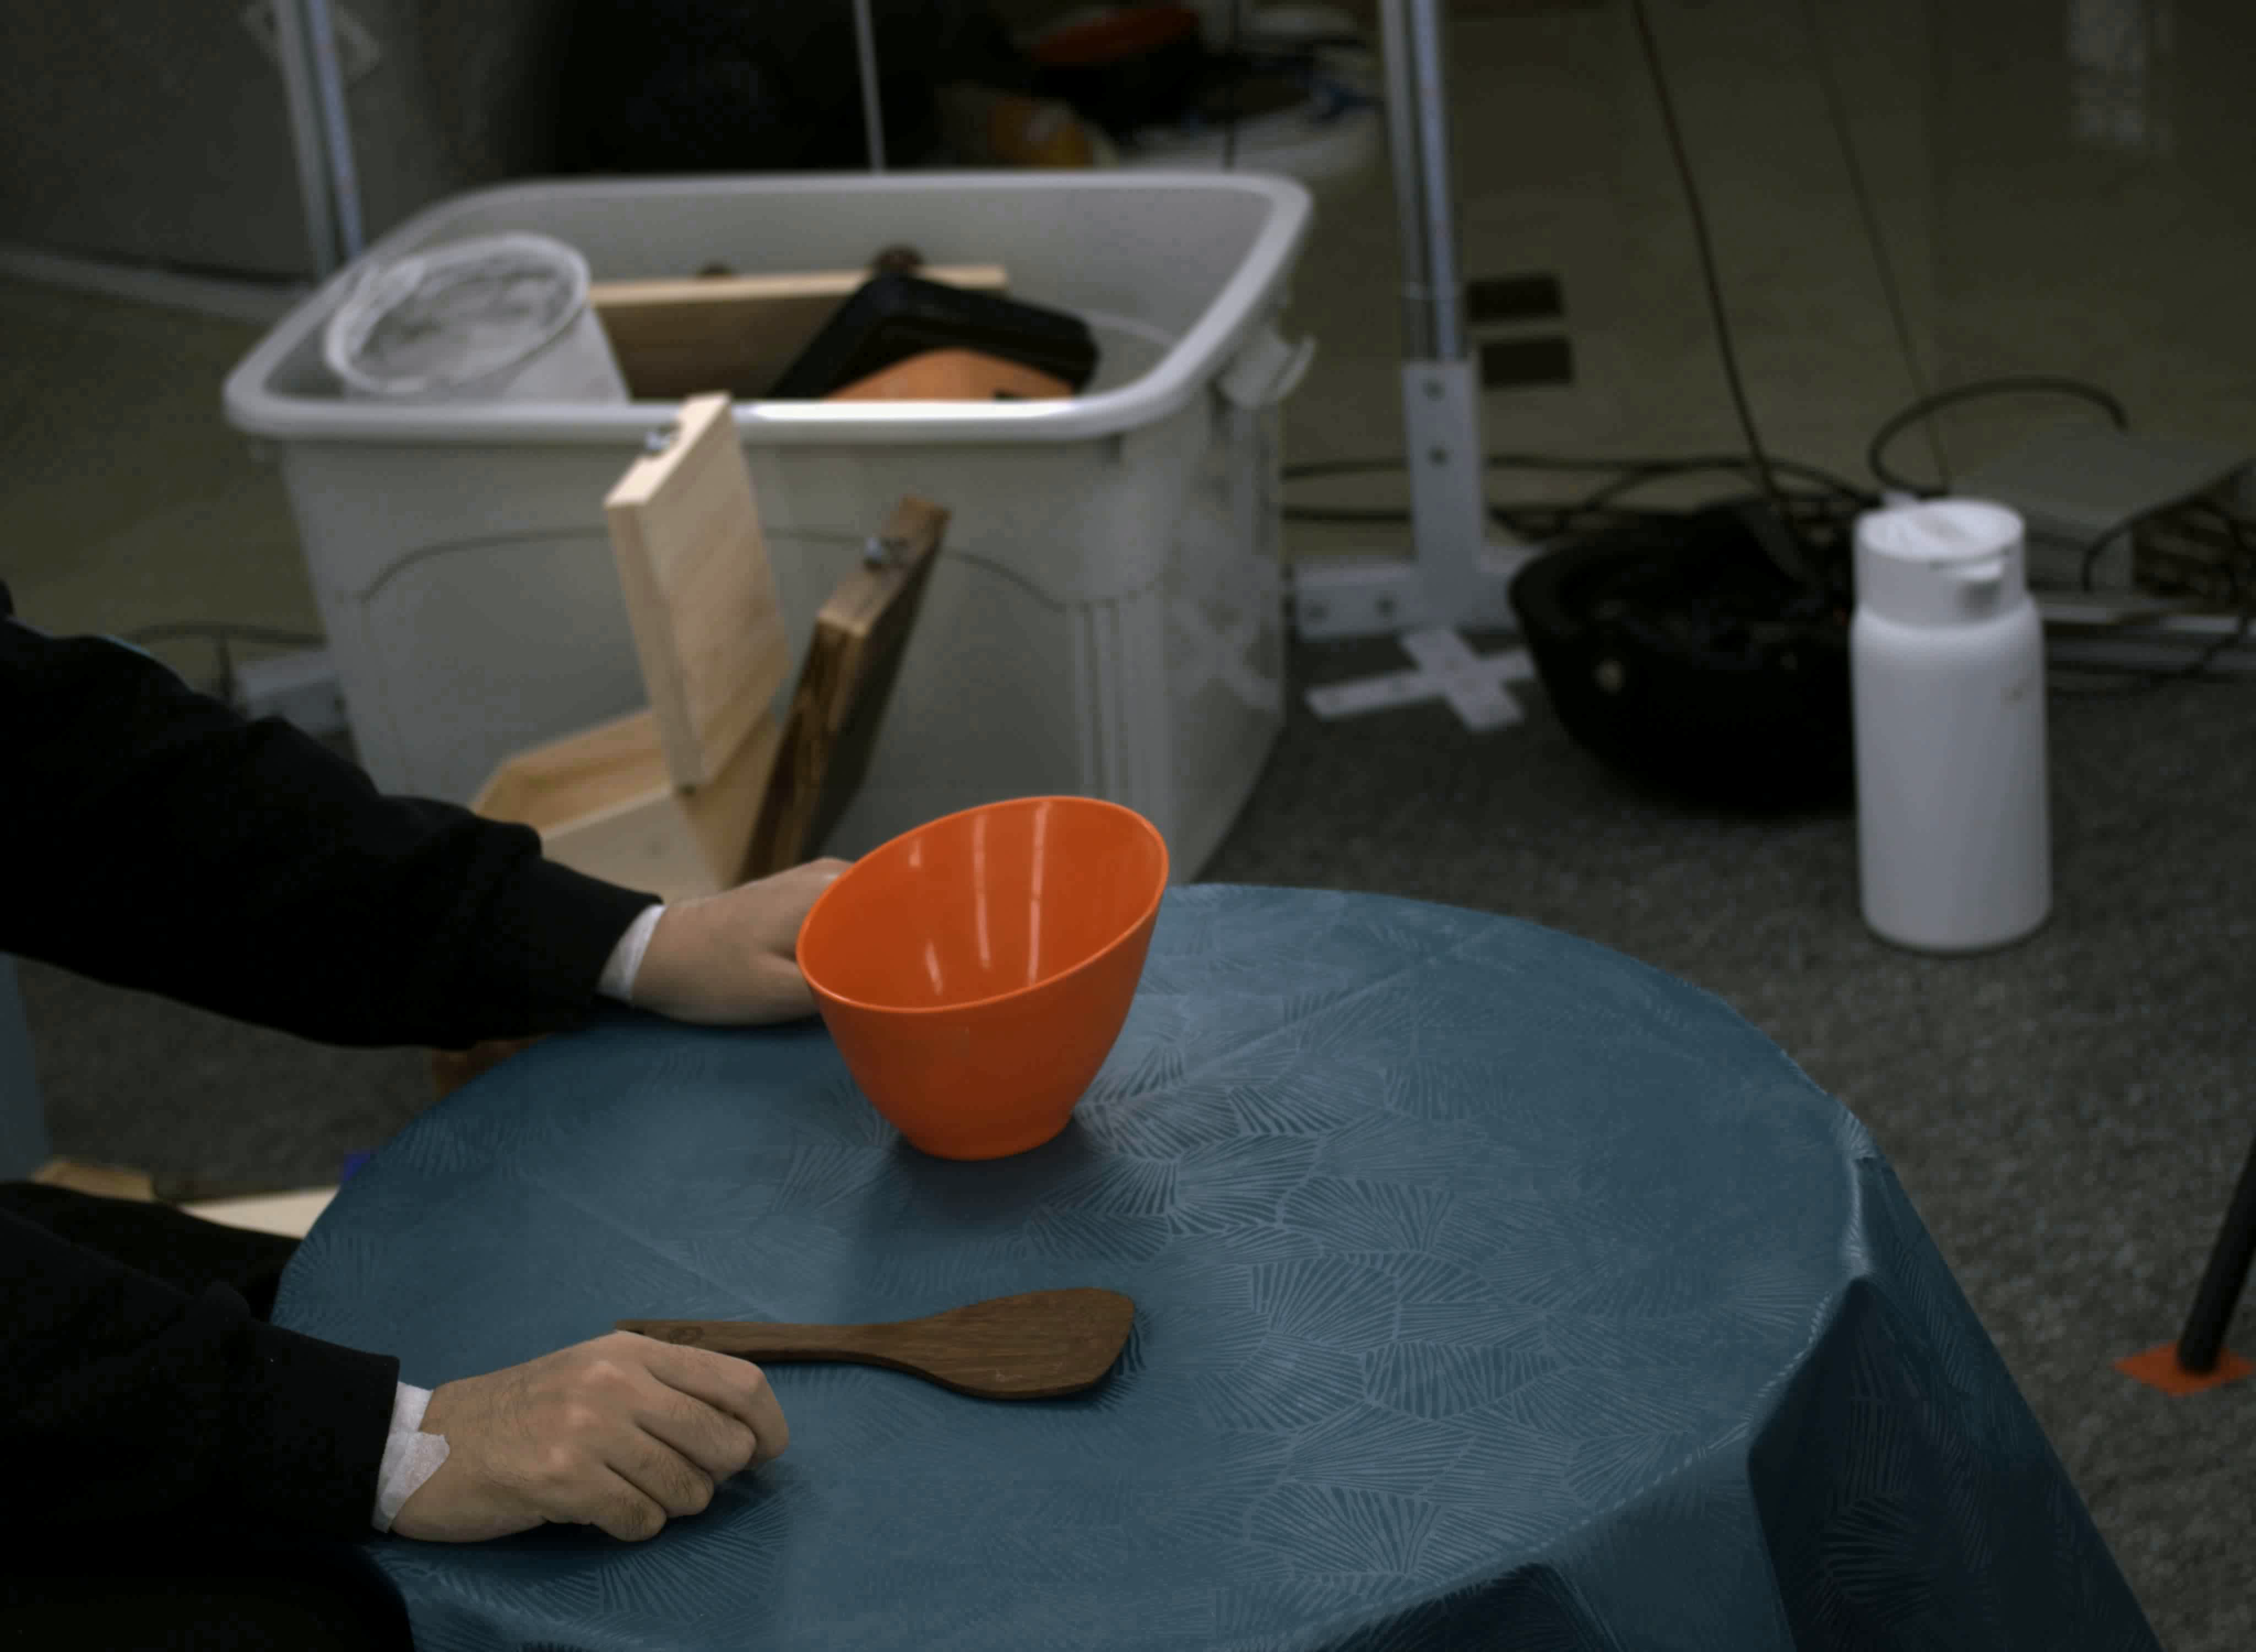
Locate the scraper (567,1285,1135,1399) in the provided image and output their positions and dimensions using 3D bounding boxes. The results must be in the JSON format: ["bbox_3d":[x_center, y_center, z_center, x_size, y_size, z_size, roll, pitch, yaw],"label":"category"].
[{"bbox_3d":[-0.102,0.188,2.063,0.211,0.011,0.075,-1,24,13],"label":"scraper"}]

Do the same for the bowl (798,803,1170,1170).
[{"bbox_3d":[-0.050,0.069,2.198,0.148,0.106,0.146,-6,26,3],"label":"bowl"}]
